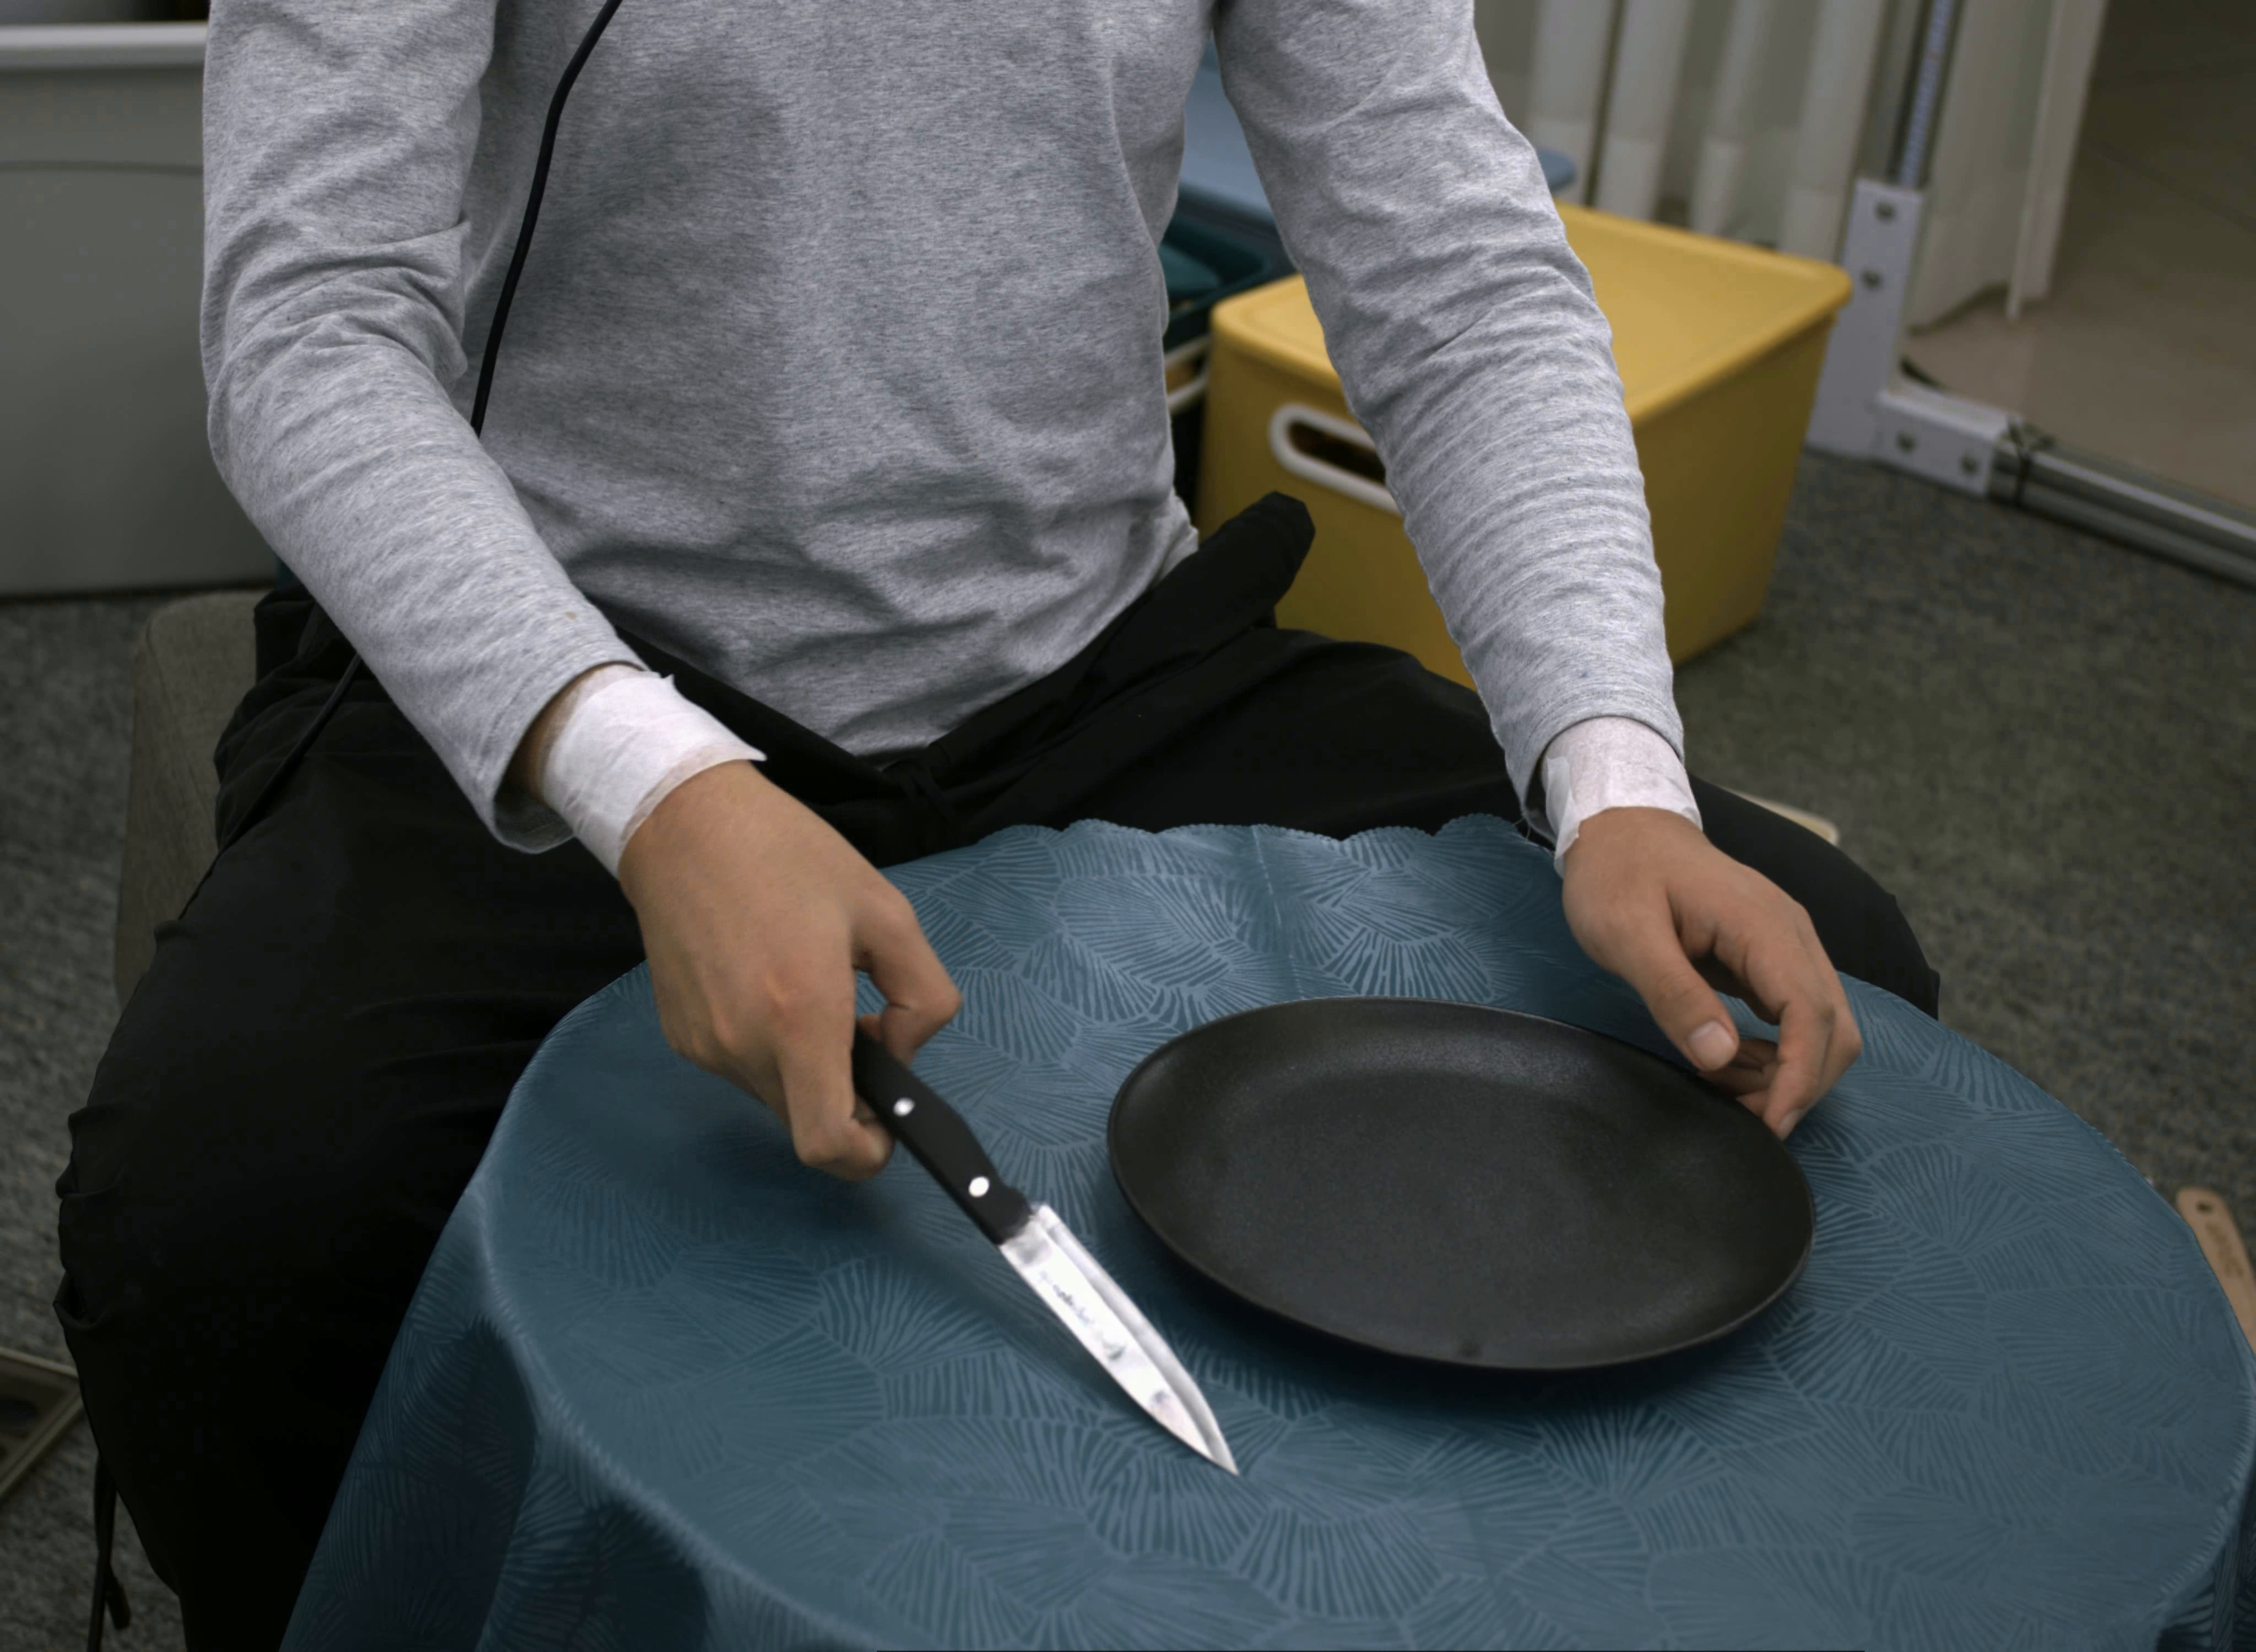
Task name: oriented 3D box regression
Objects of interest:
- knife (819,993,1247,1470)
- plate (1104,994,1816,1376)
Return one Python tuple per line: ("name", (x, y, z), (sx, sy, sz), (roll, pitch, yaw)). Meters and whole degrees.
("knife", (-0.034, 0.132, 1.728), (0.024, 0.016, 0.240), (-31, 52, -18))
("plate", (0.111, 0.125, 1.803), (0.243, 0.023, 0.246), (5, 27, -3))
